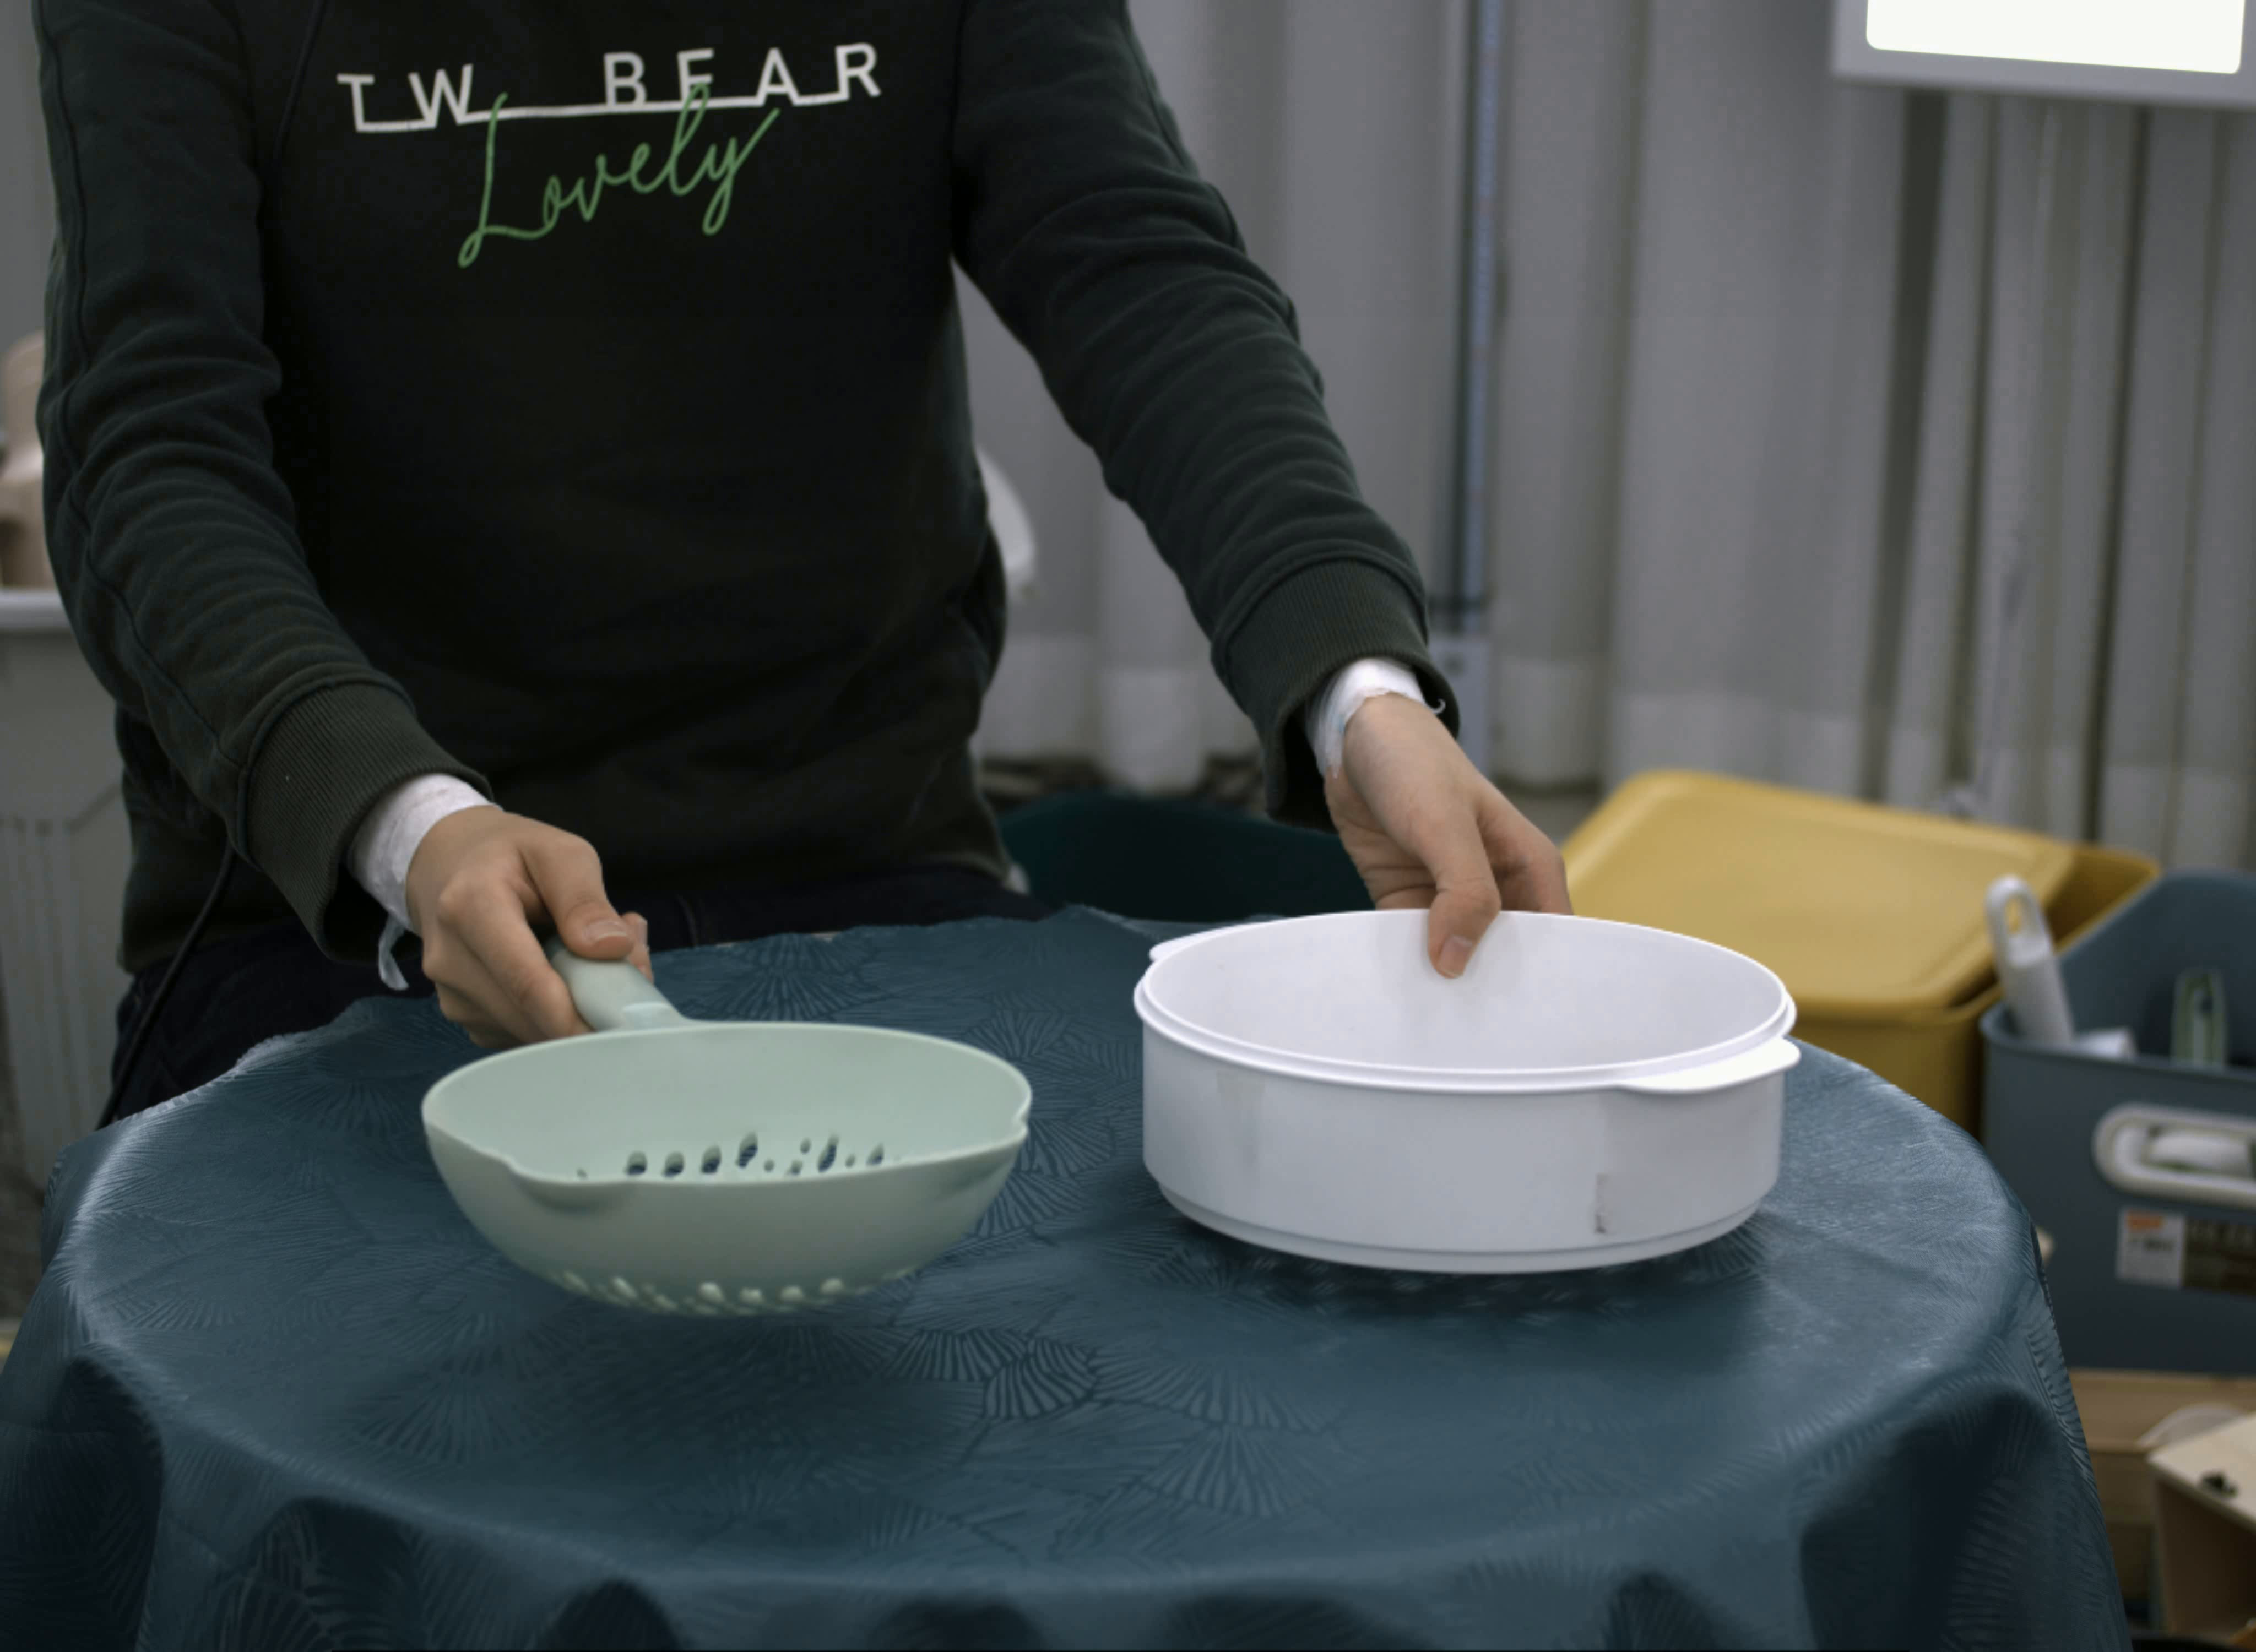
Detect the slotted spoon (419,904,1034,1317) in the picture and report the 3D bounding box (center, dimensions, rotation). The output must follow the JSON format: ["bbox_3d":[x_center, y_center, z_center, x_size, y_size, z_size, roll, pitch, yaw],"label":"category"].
[{"bbox_3d":[-0.138,0.067,1.543,0.169,0.076,0.355,-3,20,-17],"label":"slotted spoon"}]

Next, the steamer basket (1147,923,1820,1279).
[{"bbox_3d":[0.105,0.083,1.598,0.227,0.070,0.203,13,17,43],"label":"steamer basket"}]
